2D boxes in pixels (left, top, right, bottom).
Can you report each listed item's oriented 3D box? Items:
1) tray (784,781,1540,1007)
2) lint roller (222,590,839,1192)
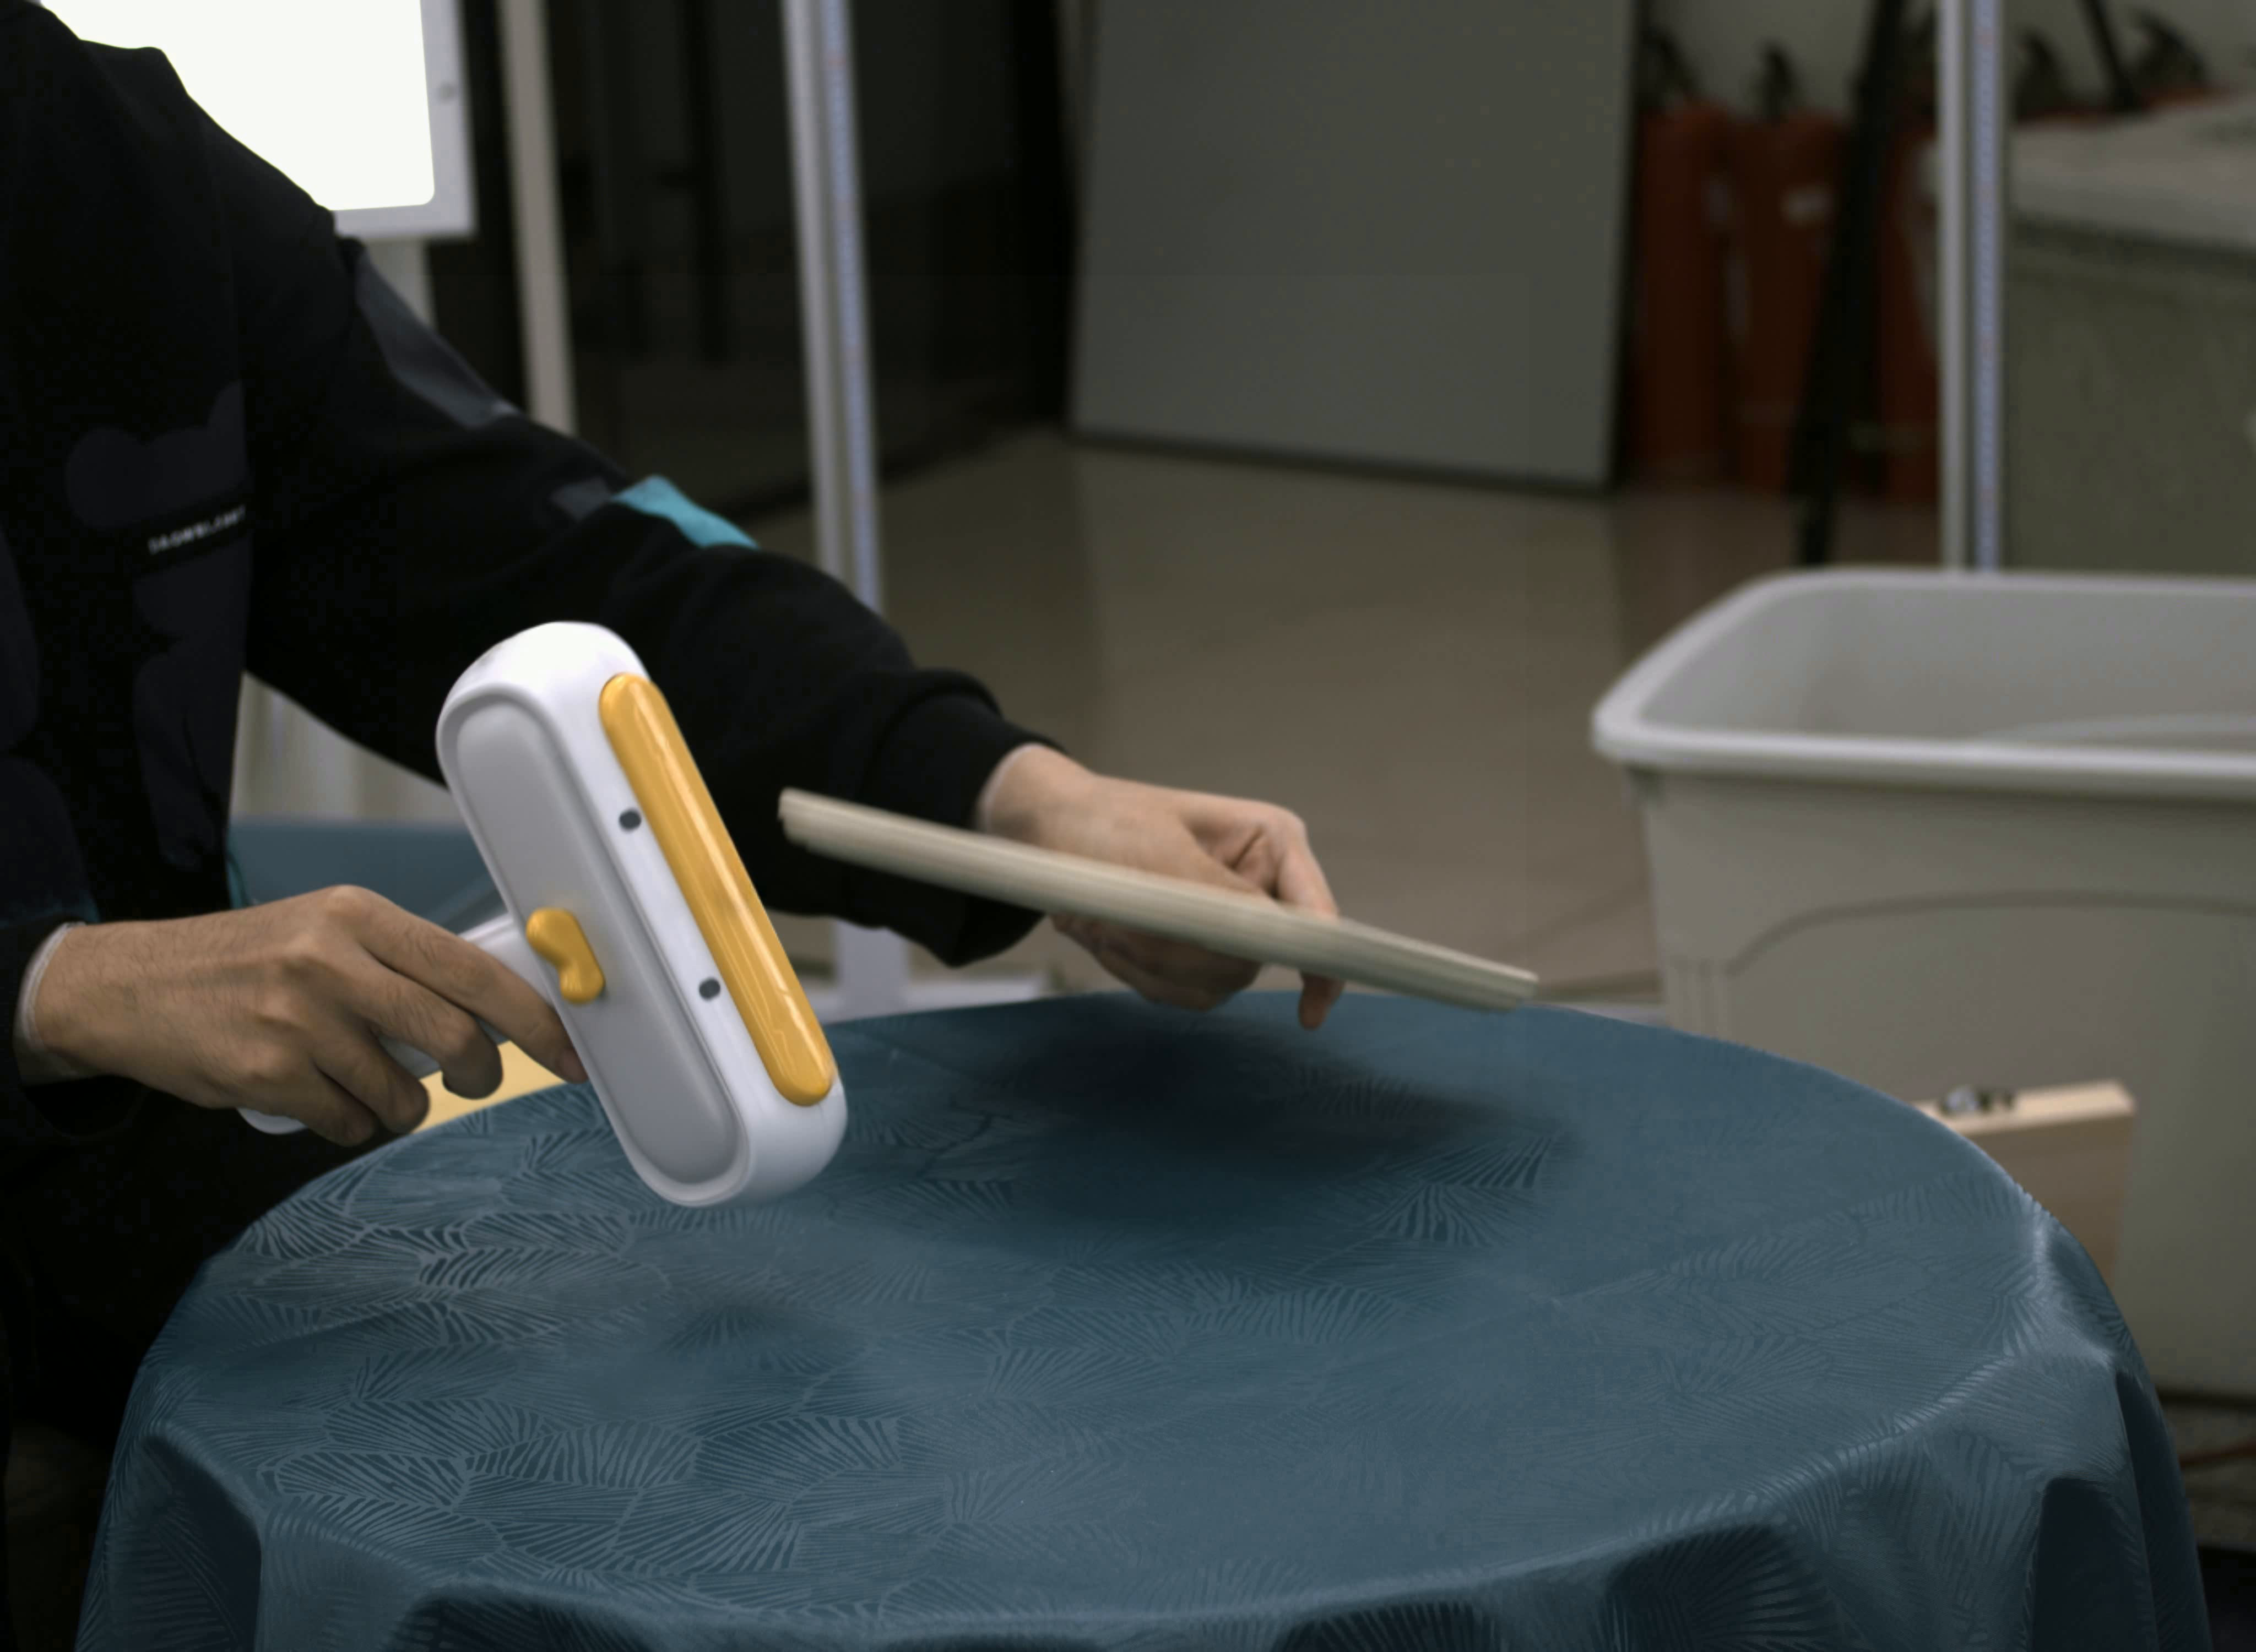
[{"bbox_3d":[0.009,0.025,1.829,0.241,0.017,0.168,12,-4,38],"label":"tray"},{"bbox_3d":[-0.201,0.047,1.693,0.193,0.194,0.073,-28,3,31],"label":"lint roller"}]
